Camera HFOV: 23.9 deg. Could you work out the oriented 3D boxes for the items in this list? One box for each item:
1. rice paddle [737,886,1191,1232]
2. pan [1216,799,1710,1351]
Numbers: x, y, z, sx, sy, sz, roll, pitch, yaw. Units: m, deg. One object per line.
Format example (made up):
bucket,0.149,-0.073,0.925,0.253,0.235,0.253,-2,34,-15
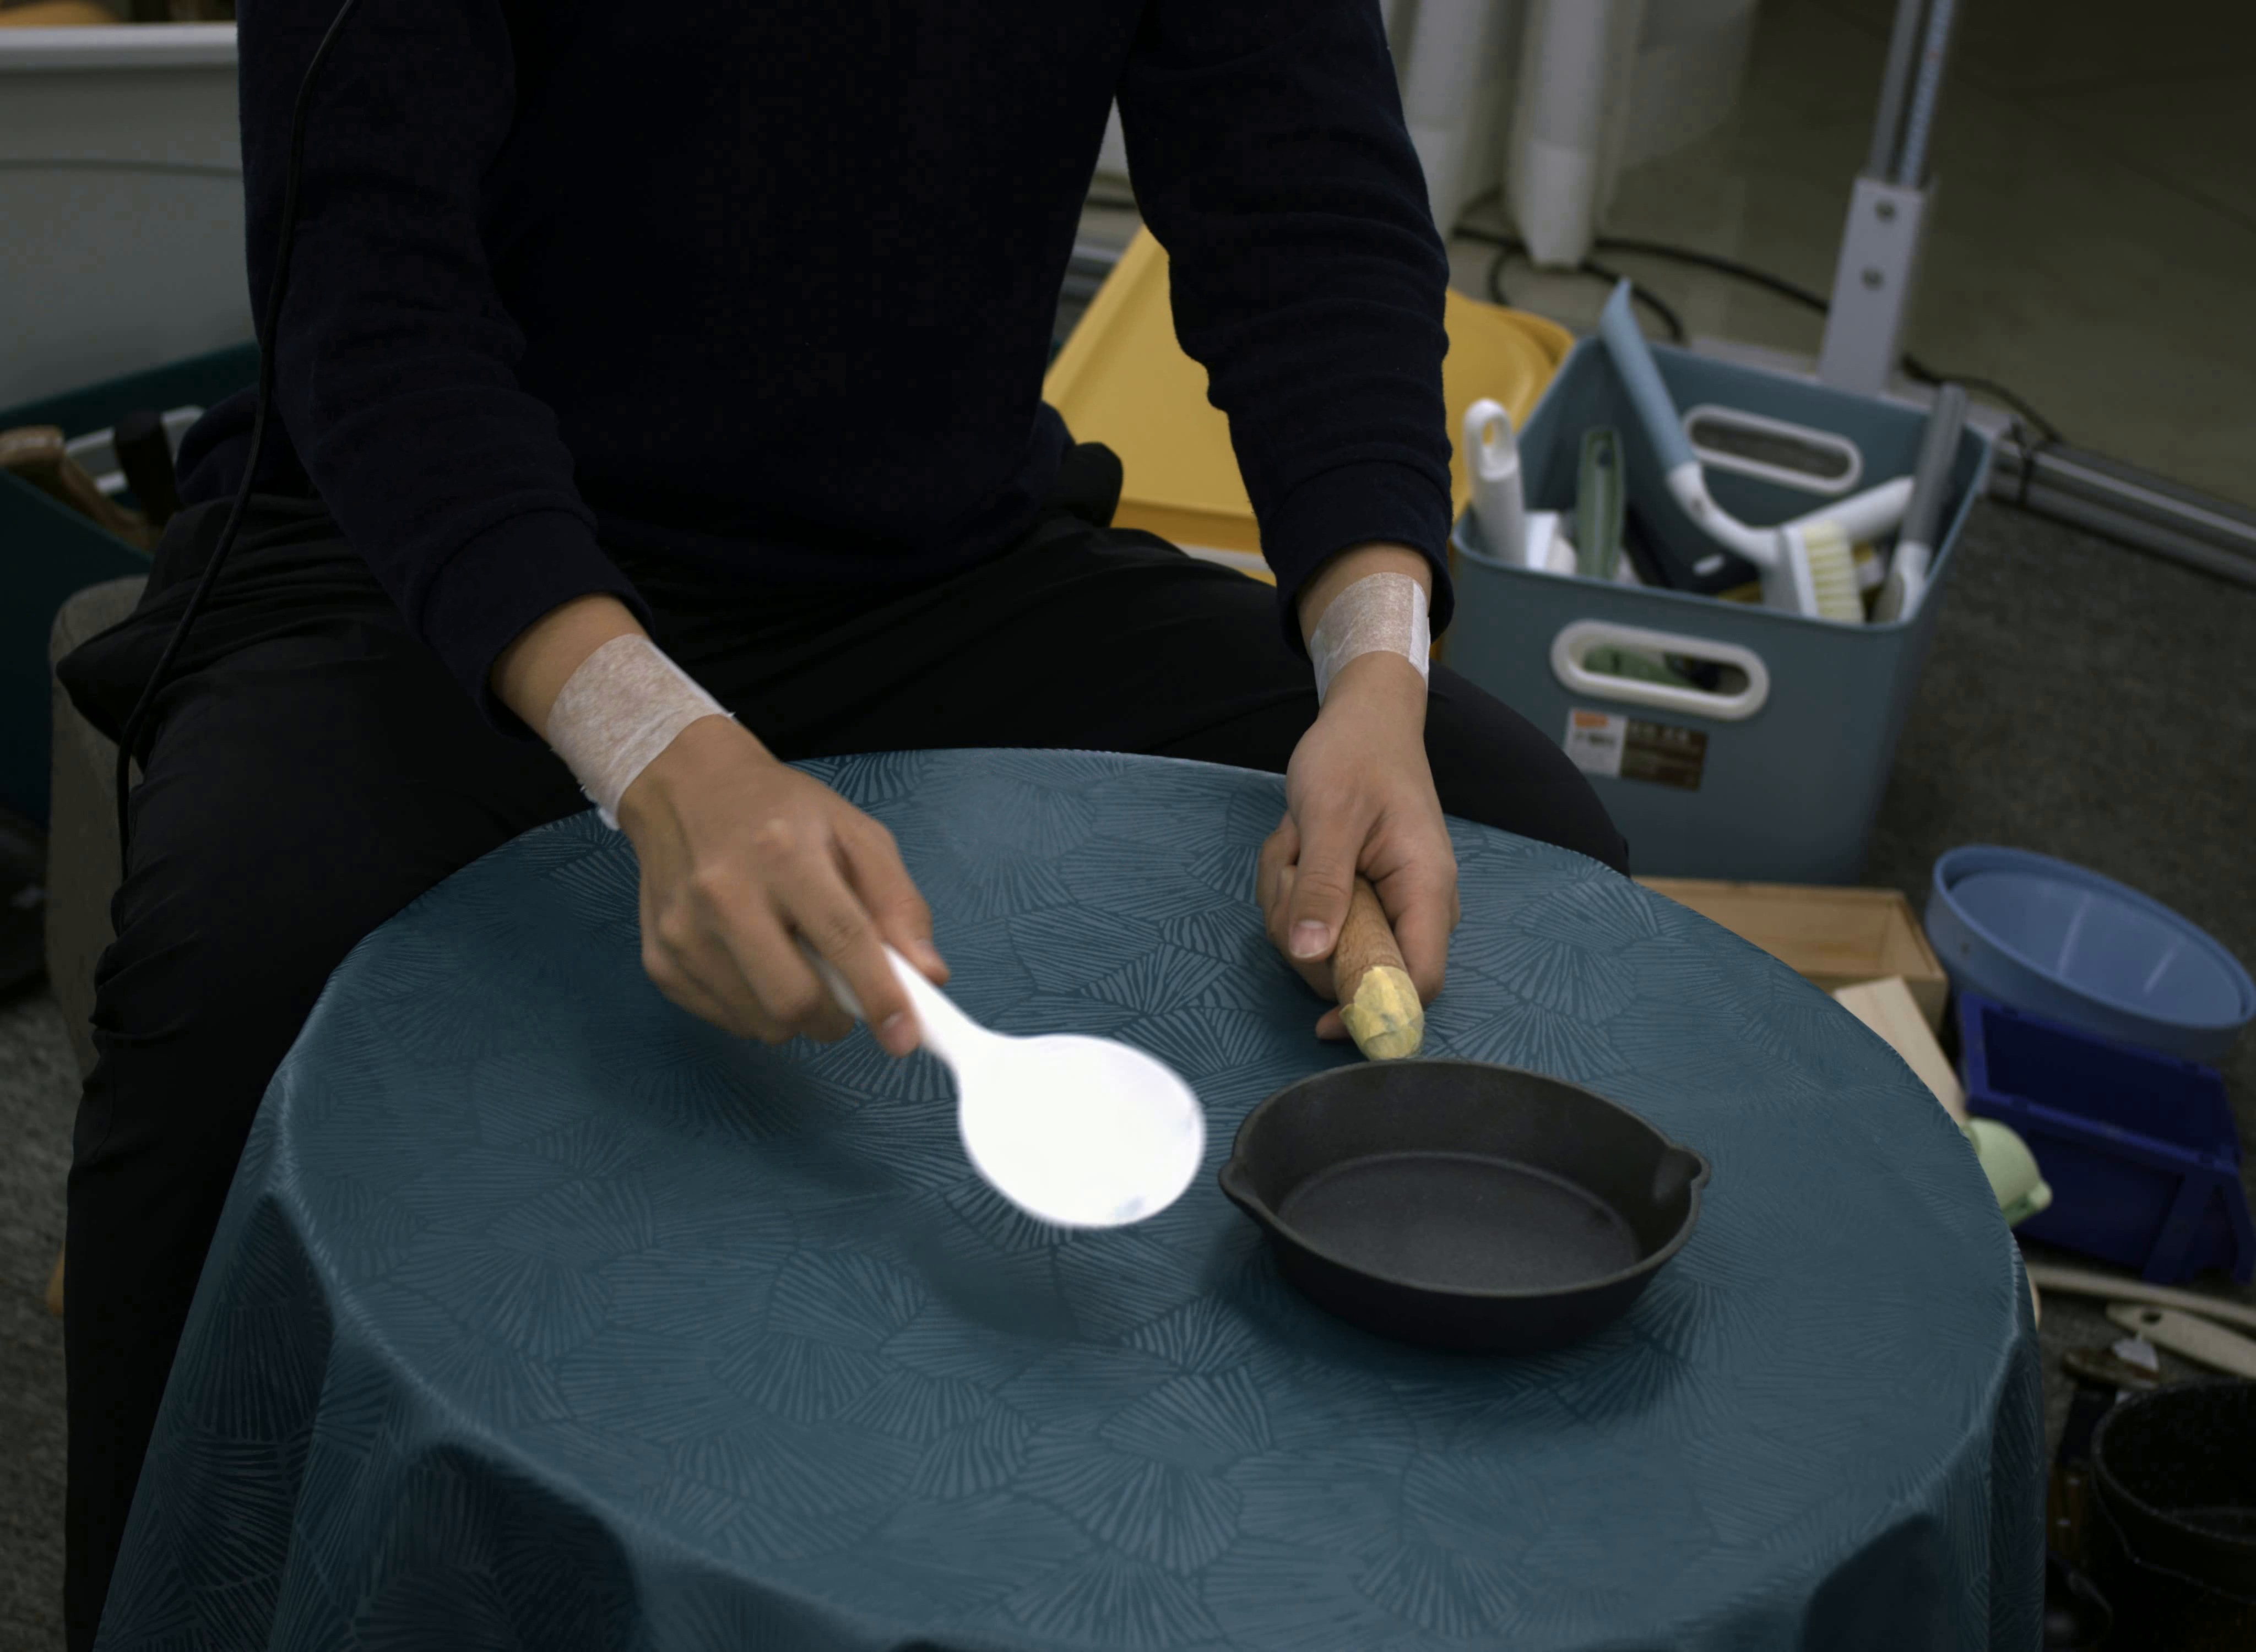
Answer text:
rice paddle,-0.056,0.075,1.759,0.069,0.029,0.207,-45,48,-15
pan,0.098,0.083,1.848,0.168,0.049,0.327,-1,28,-10
